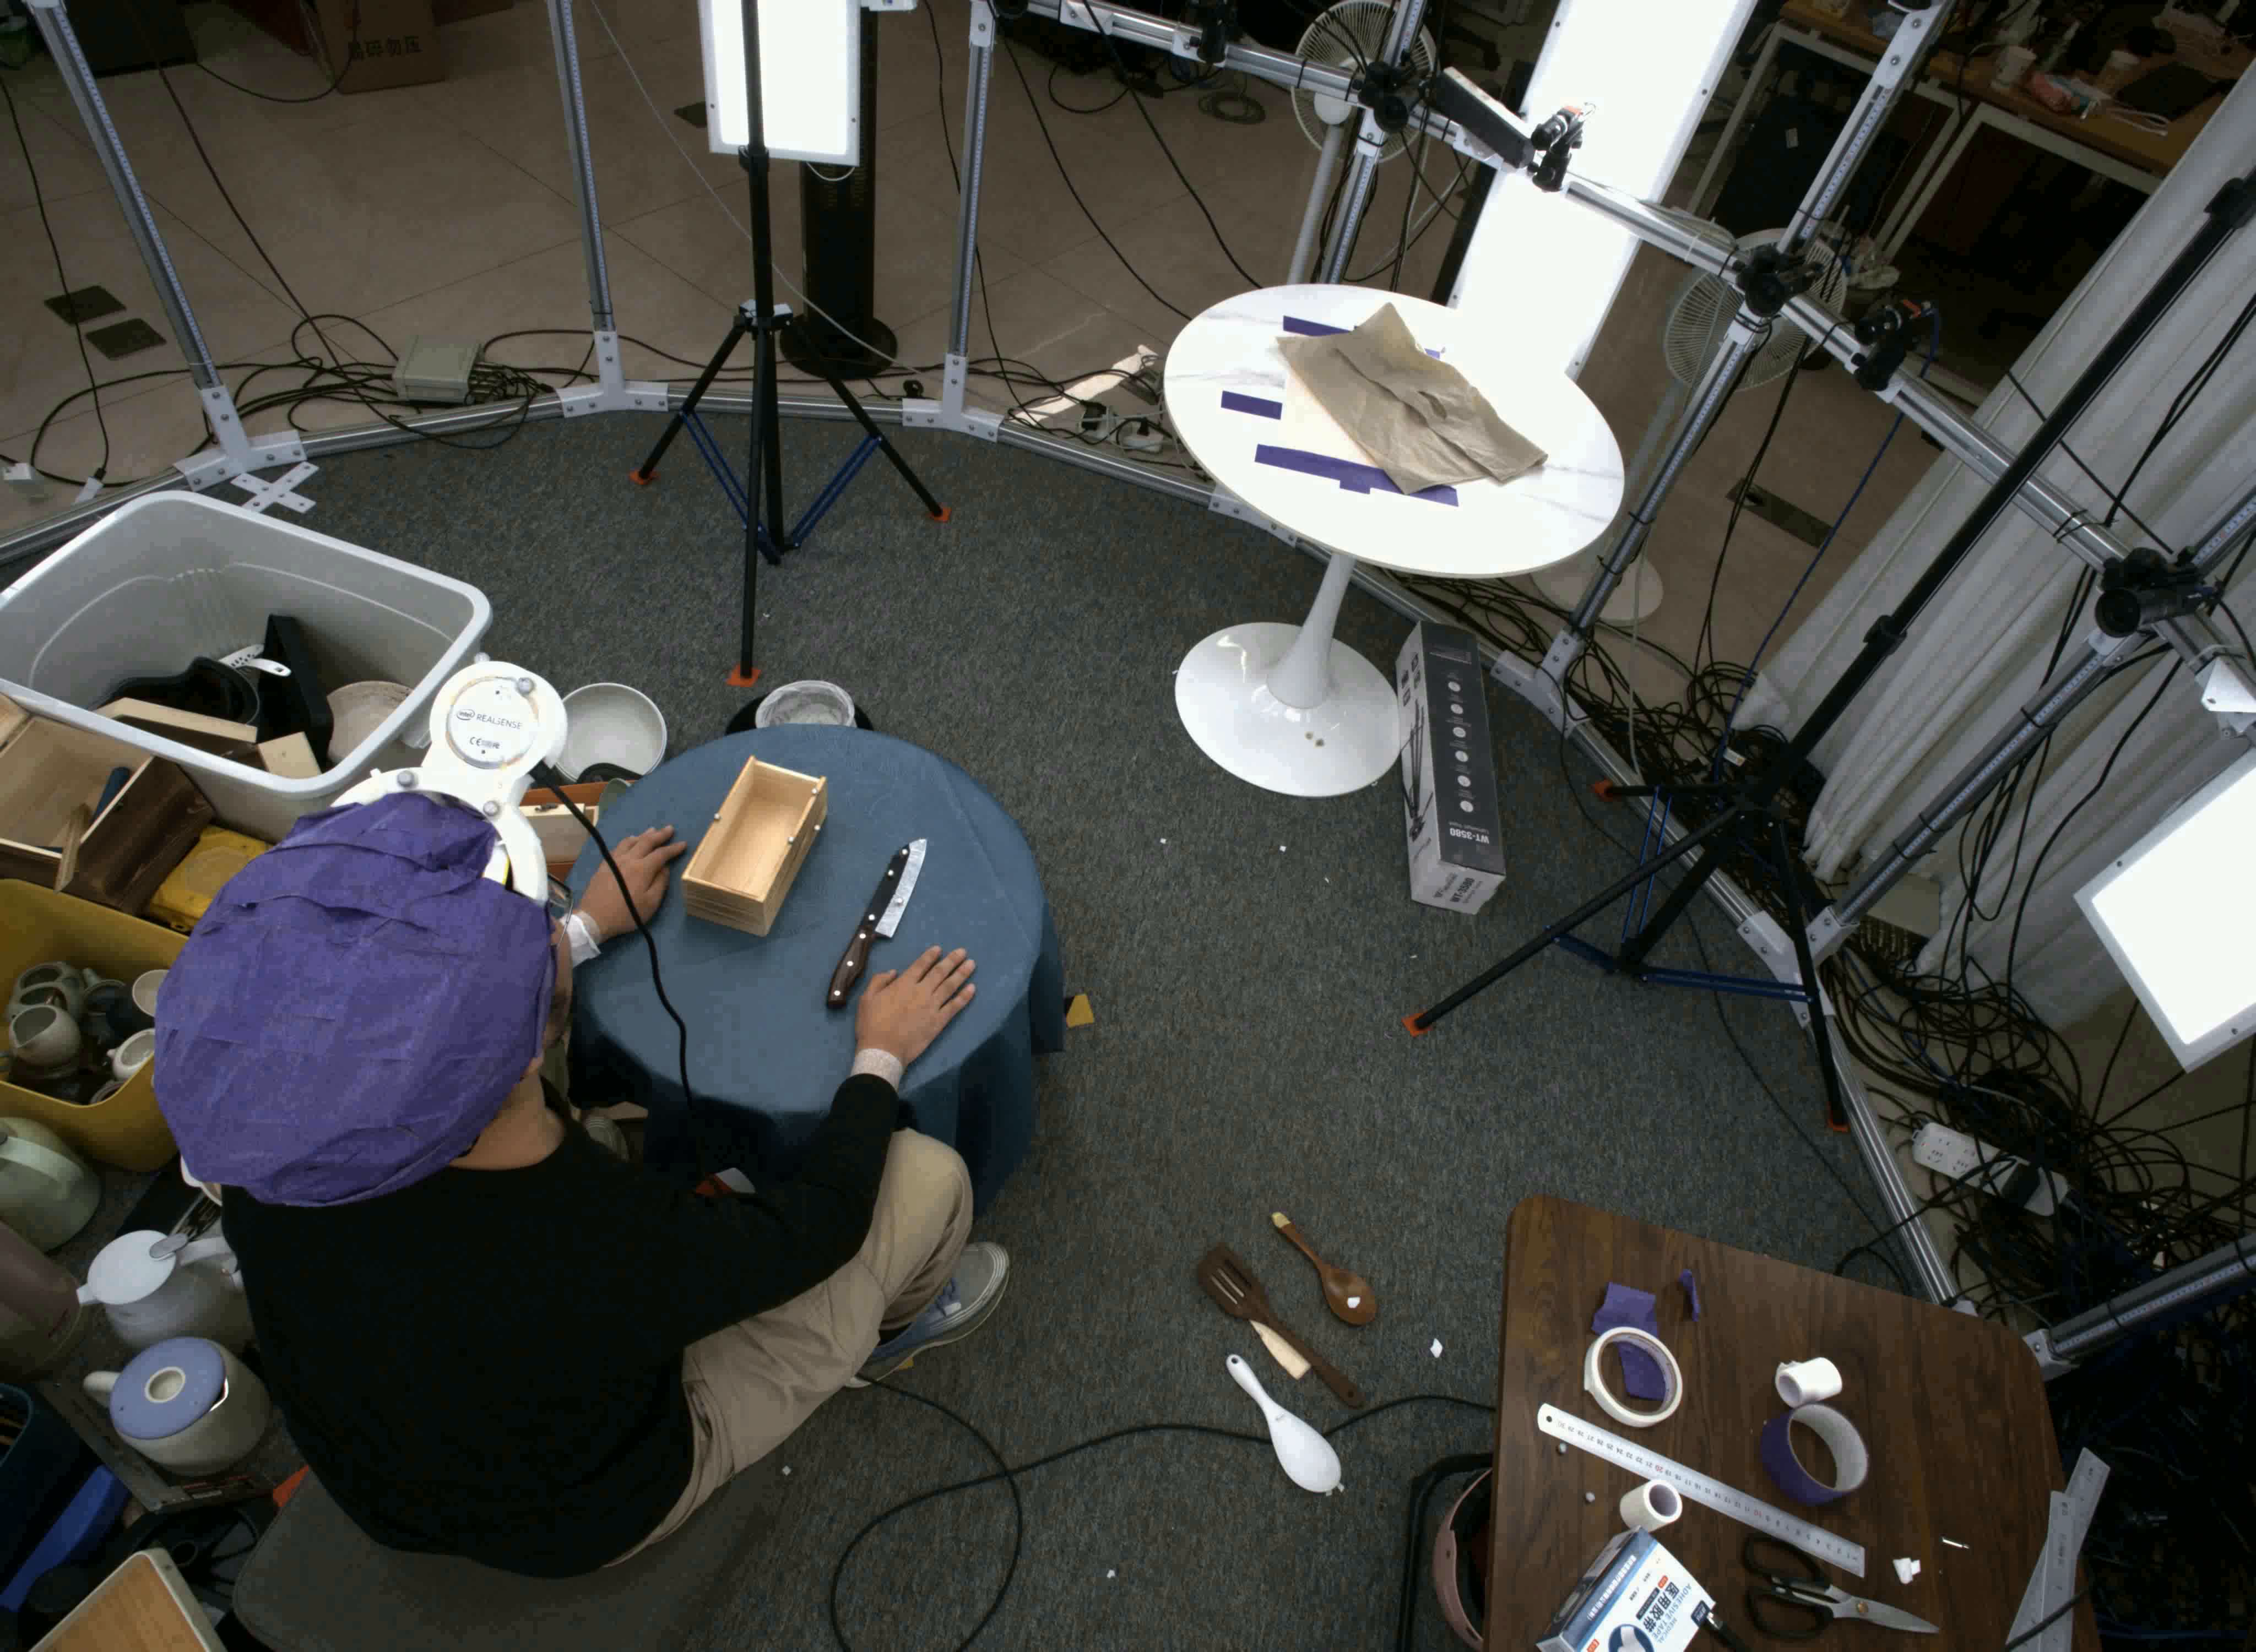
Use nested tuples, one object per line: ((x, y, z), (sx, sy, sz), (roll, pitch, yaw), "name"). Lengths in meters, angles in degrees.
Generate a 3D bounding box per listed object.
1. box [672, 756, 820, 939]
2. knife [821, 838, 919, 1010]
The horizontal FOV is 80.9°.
((-0.479, 0.023, 1.636), (0.106, 0.082, 0.209), (16, 51, 0), "box")
((-0.323, 0.115, 1.650), (0.050, 0.020, 0.286), (23, 49, -3), "knife")
